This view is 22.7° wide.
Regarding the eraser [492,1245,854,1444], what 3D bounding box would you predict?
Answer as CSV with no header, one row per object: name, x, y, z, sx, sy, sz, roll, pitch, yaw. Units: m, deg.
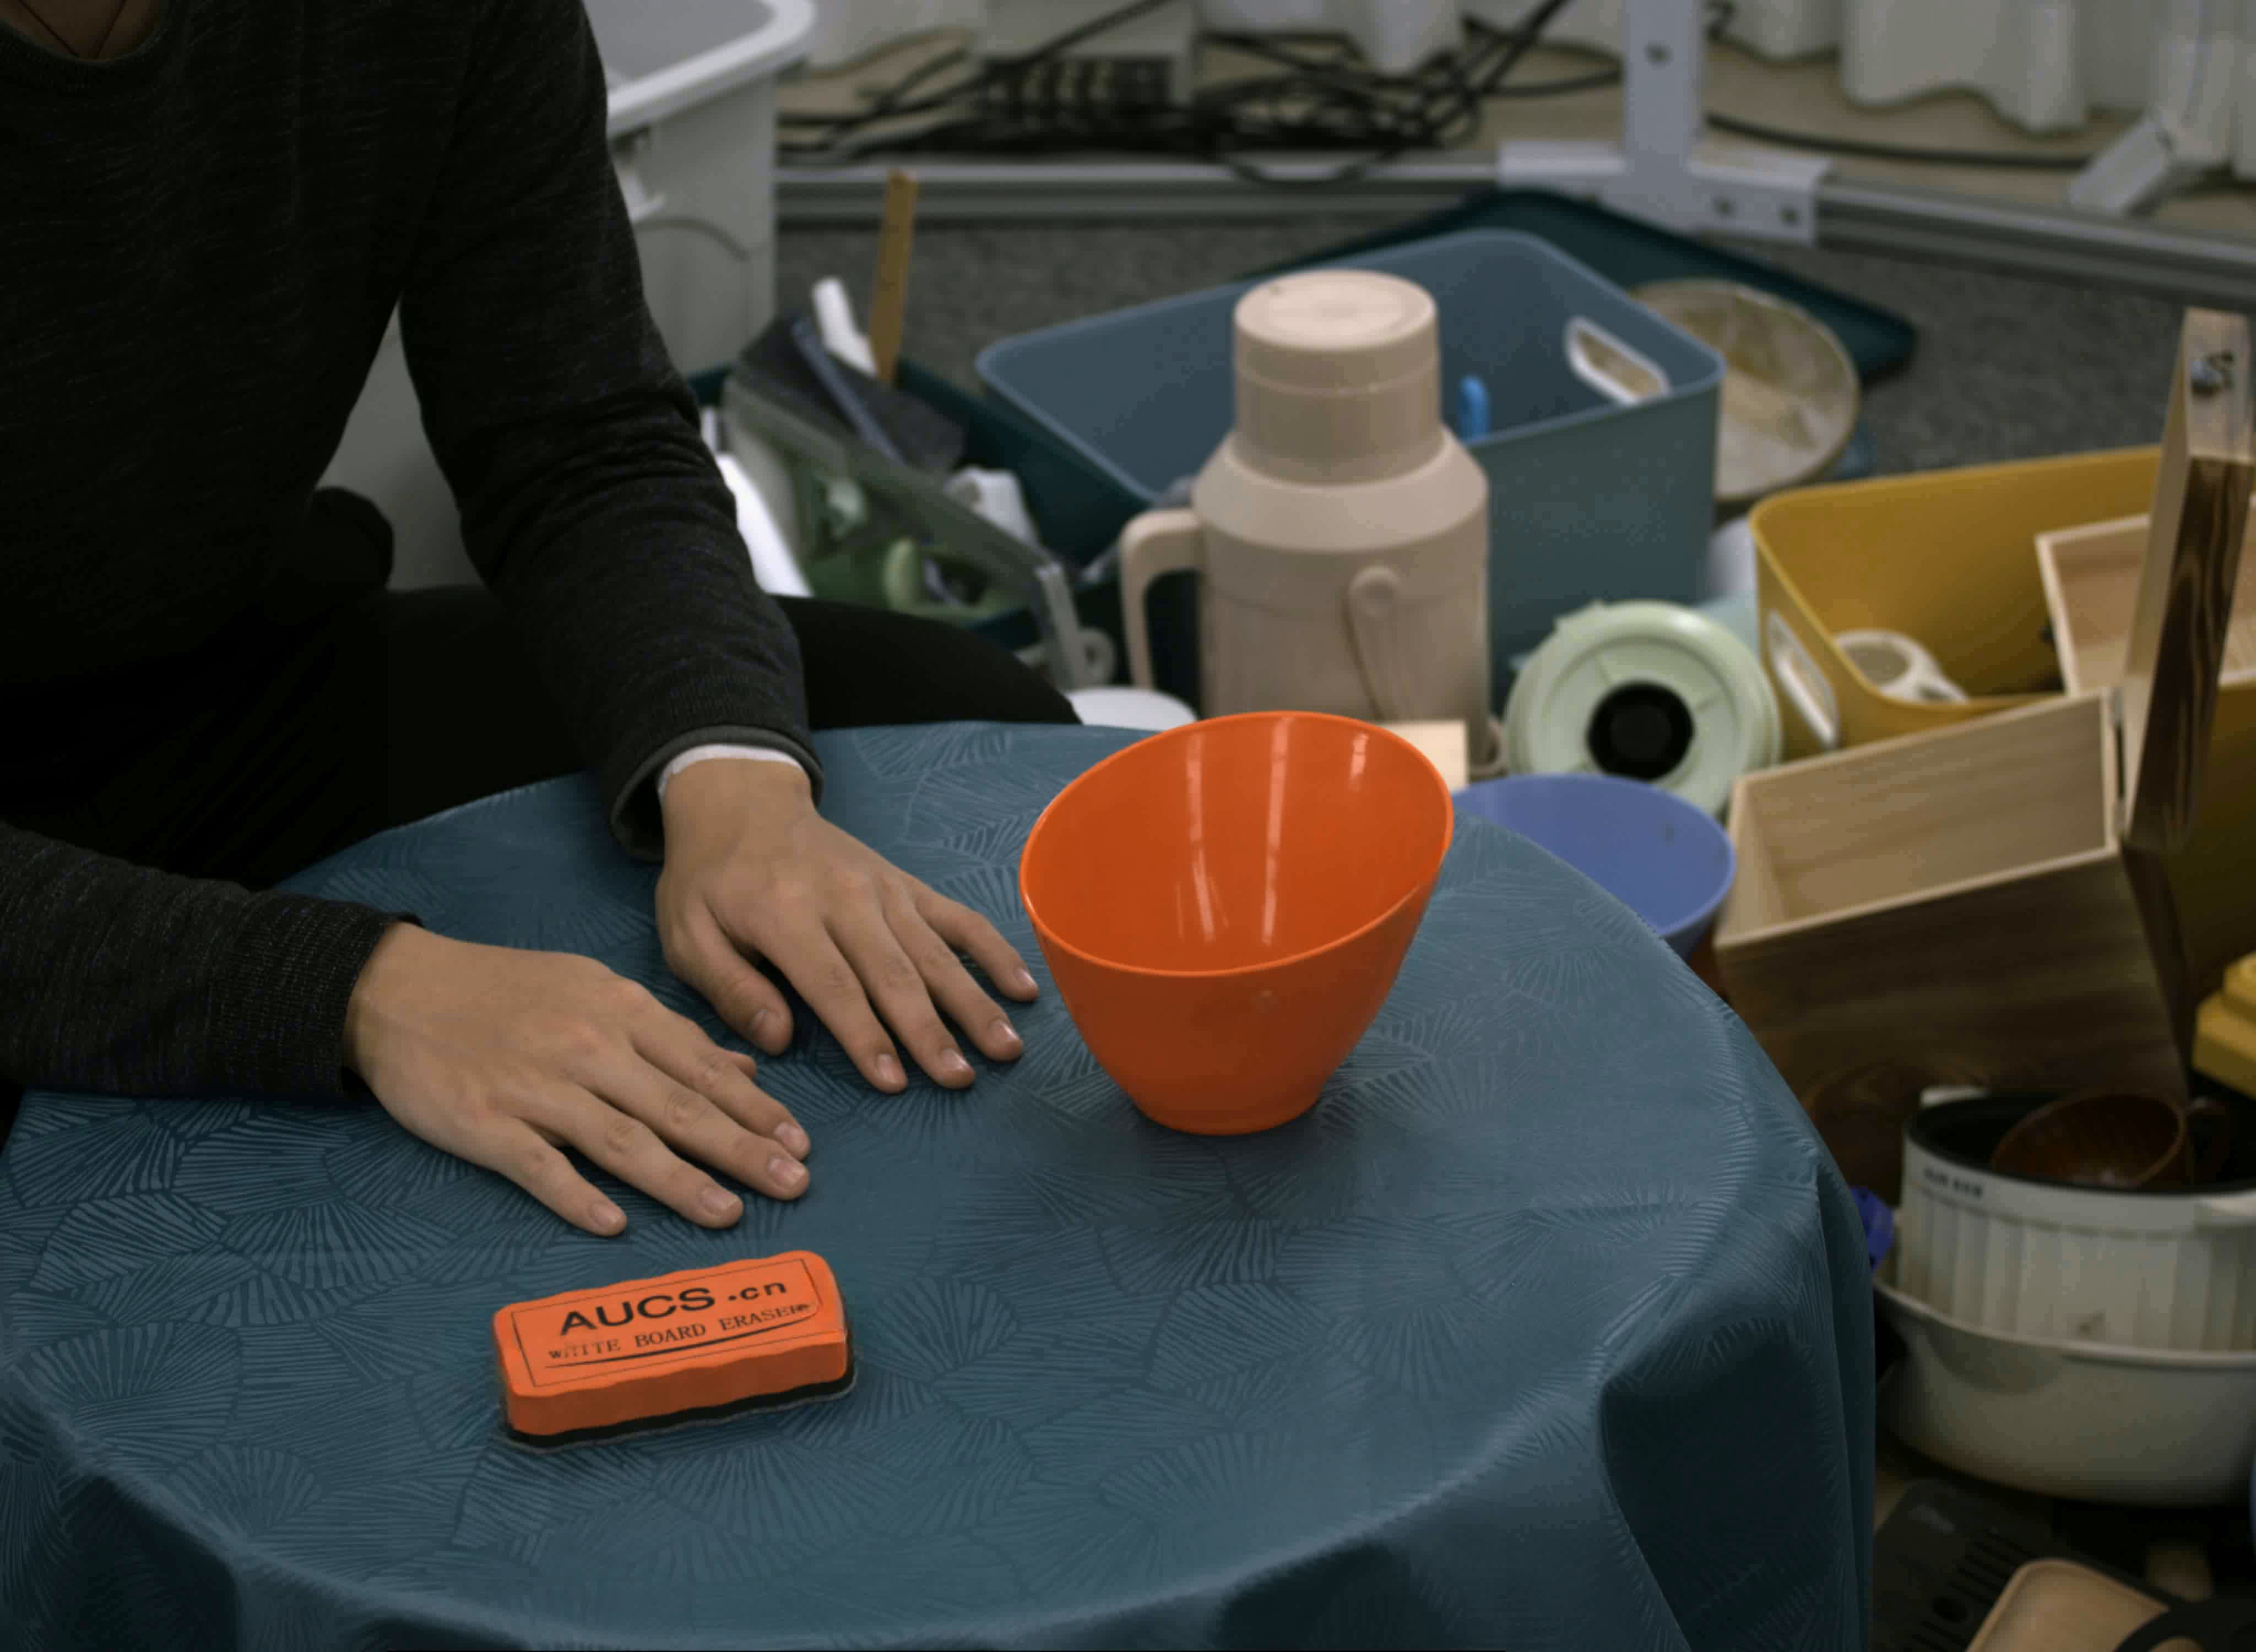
eraser,-0.143,0.163,1.764,0.108,0.022,0.059,-9,29,-14

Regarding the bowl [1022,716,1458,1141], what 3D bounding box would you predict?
bowl,0.039,0.041,1.903,0.147,0.103,0.150,-2,27,1
